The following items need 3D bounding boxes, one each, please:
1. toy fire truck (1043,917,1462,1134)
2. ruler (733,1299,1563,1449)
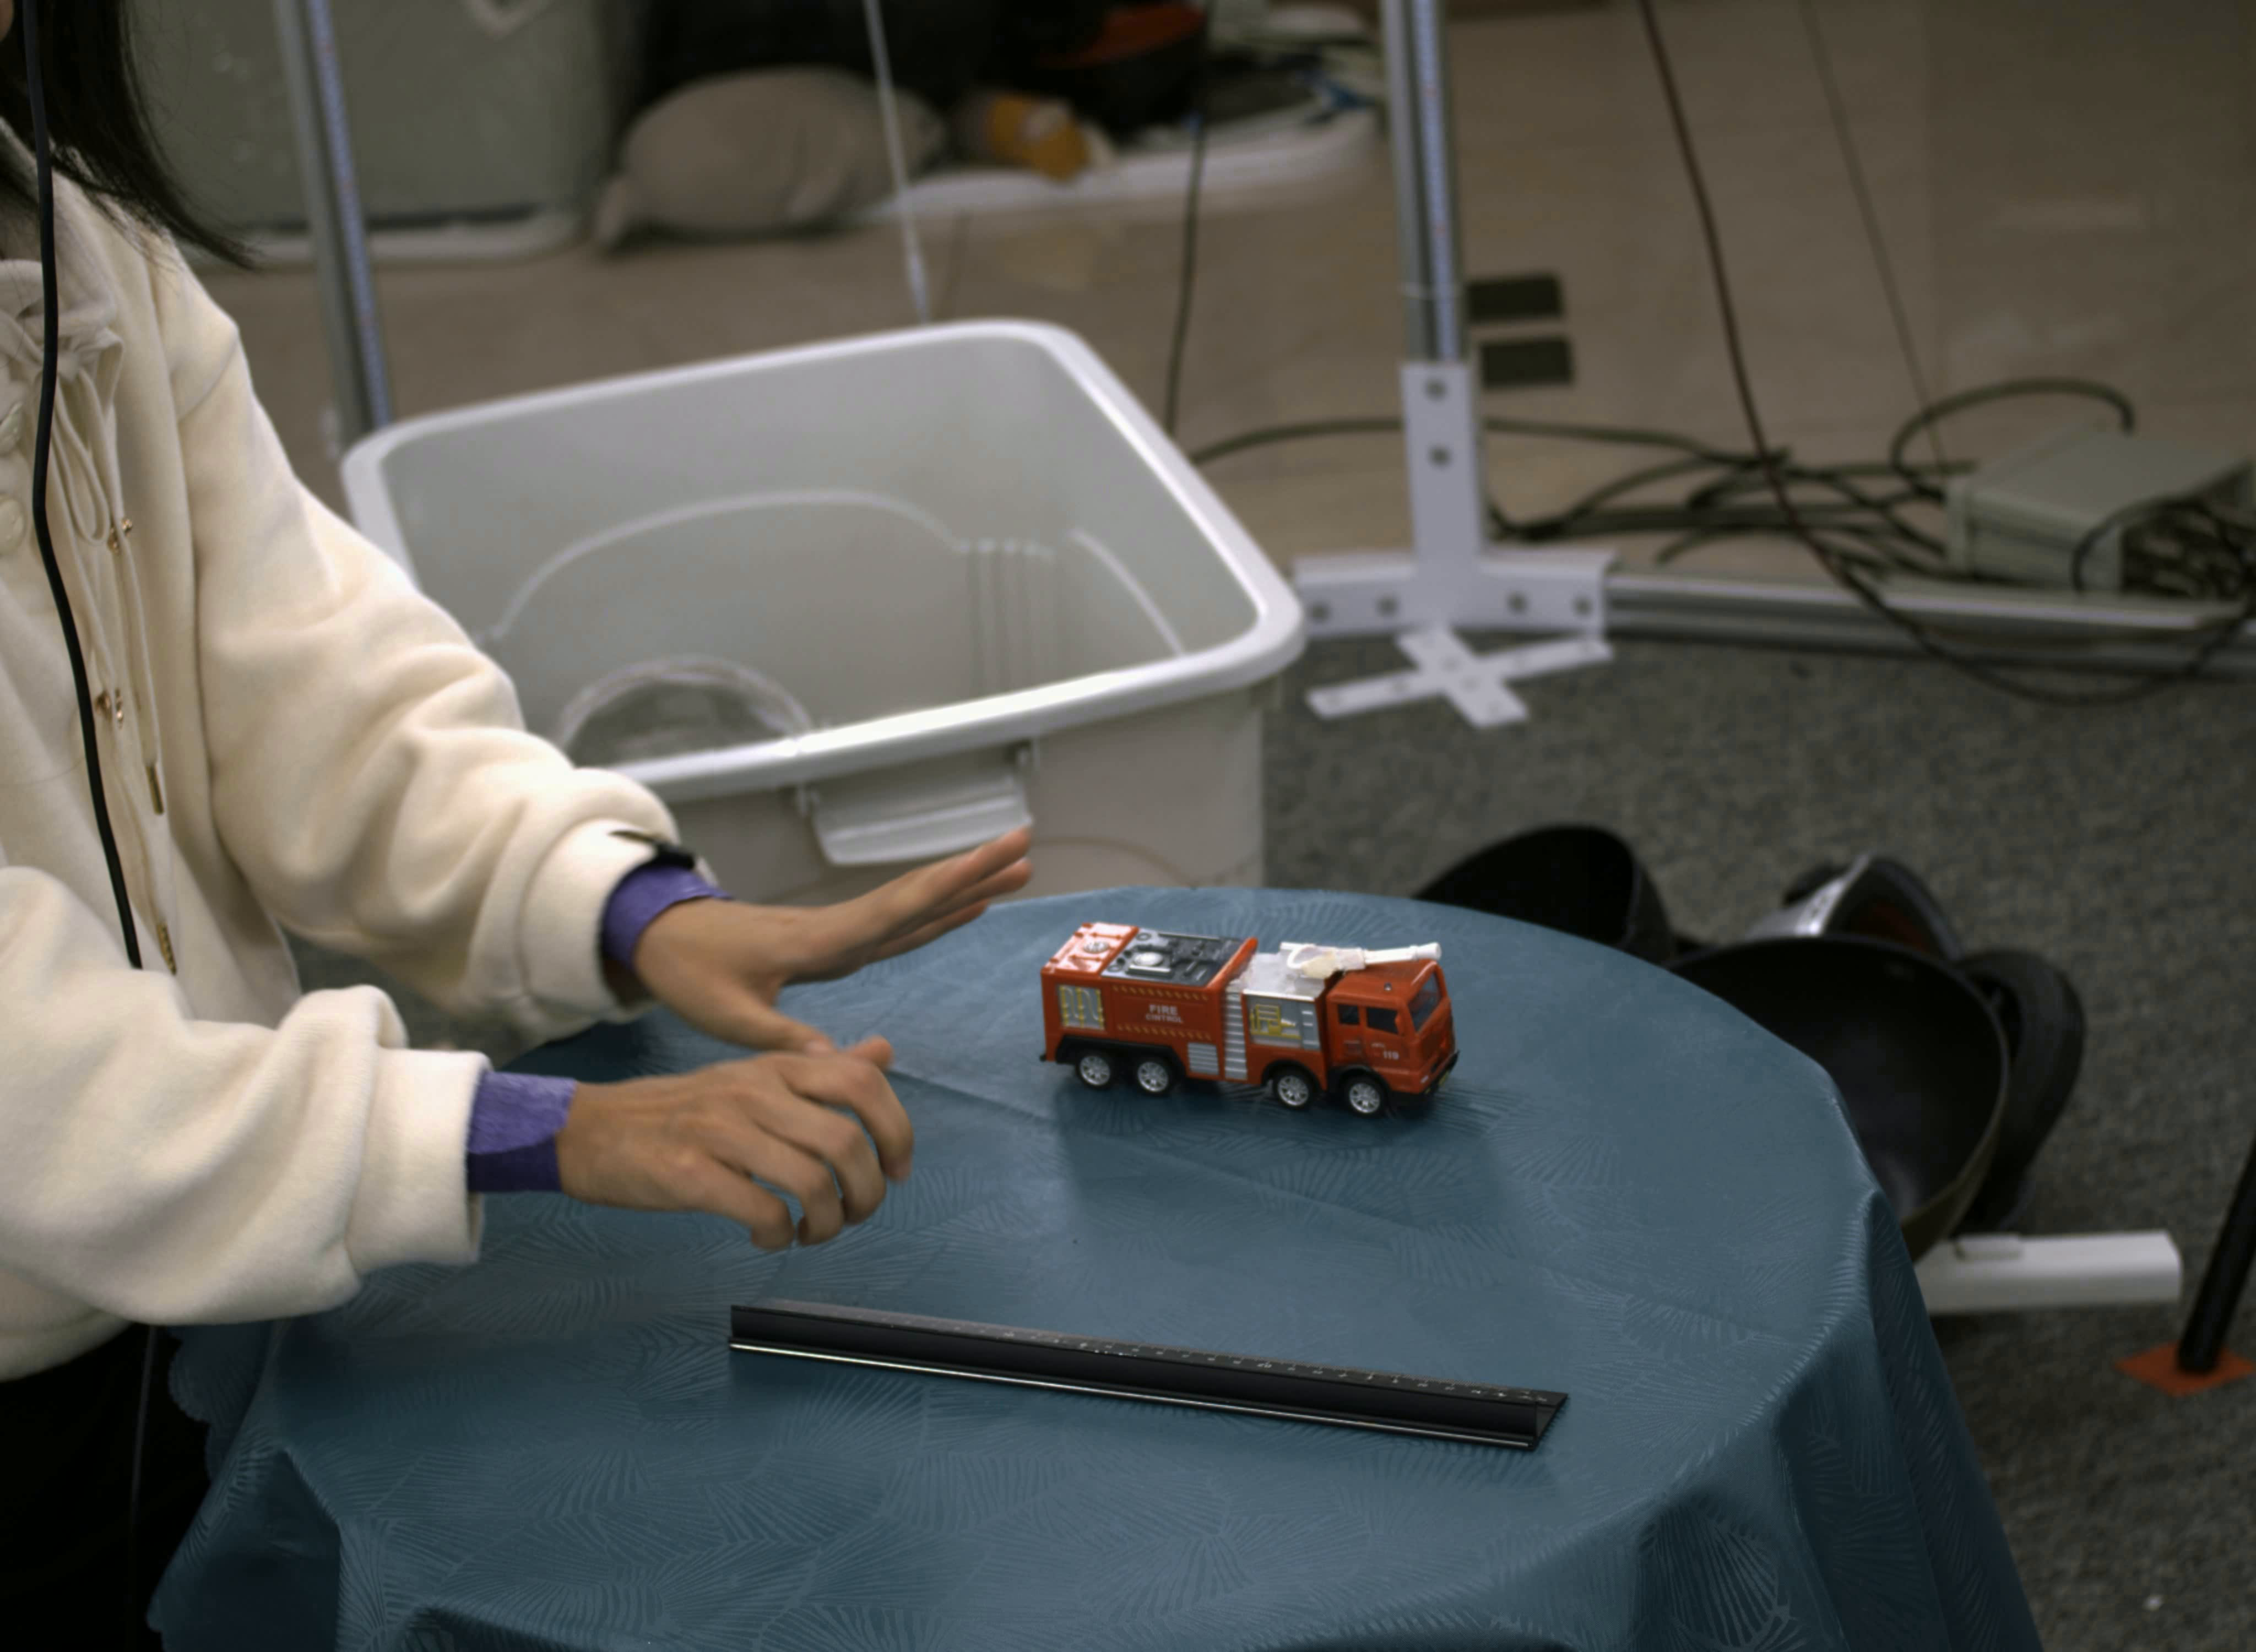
[{"bbox_3d":[0.048,0.074,2.206,0.167,0.071,0.053,4,28,24],"label":"toy fire truck"},{"bbox_3d":[0.004,0.188,2.022,0.311,0.017,0.039,5,24,24],"label":"ruler"}]
